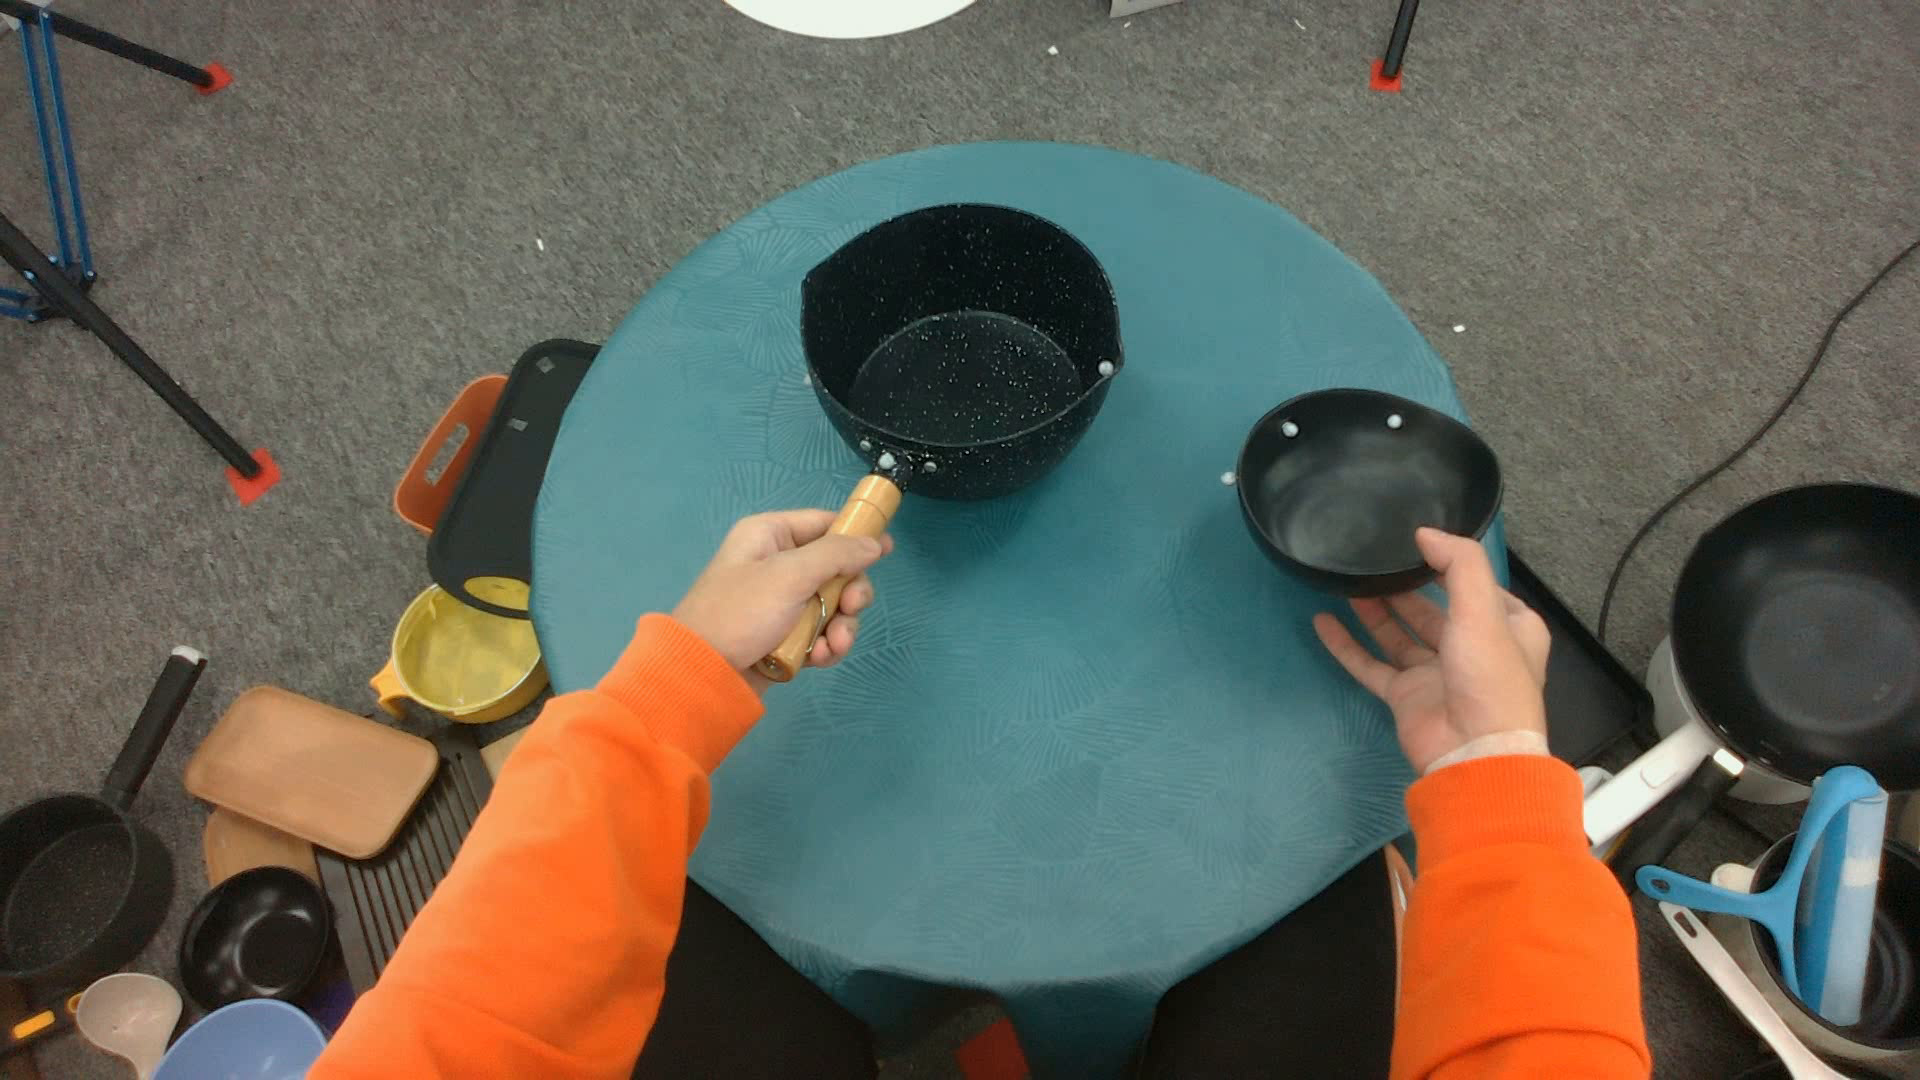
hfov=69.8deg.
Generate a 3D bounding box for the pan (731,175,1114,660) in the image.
[{"bbox_3d":[-0.035,-0.060,0.776,0.207,0.108,0.344,18,60,9],"label":"pan"}]

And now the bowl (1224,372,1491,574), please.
[{"bbox_3d":[0.221,-0.031,0.784,0.137,0.066,0.171,34,52,26],"label":"bowl"}]
